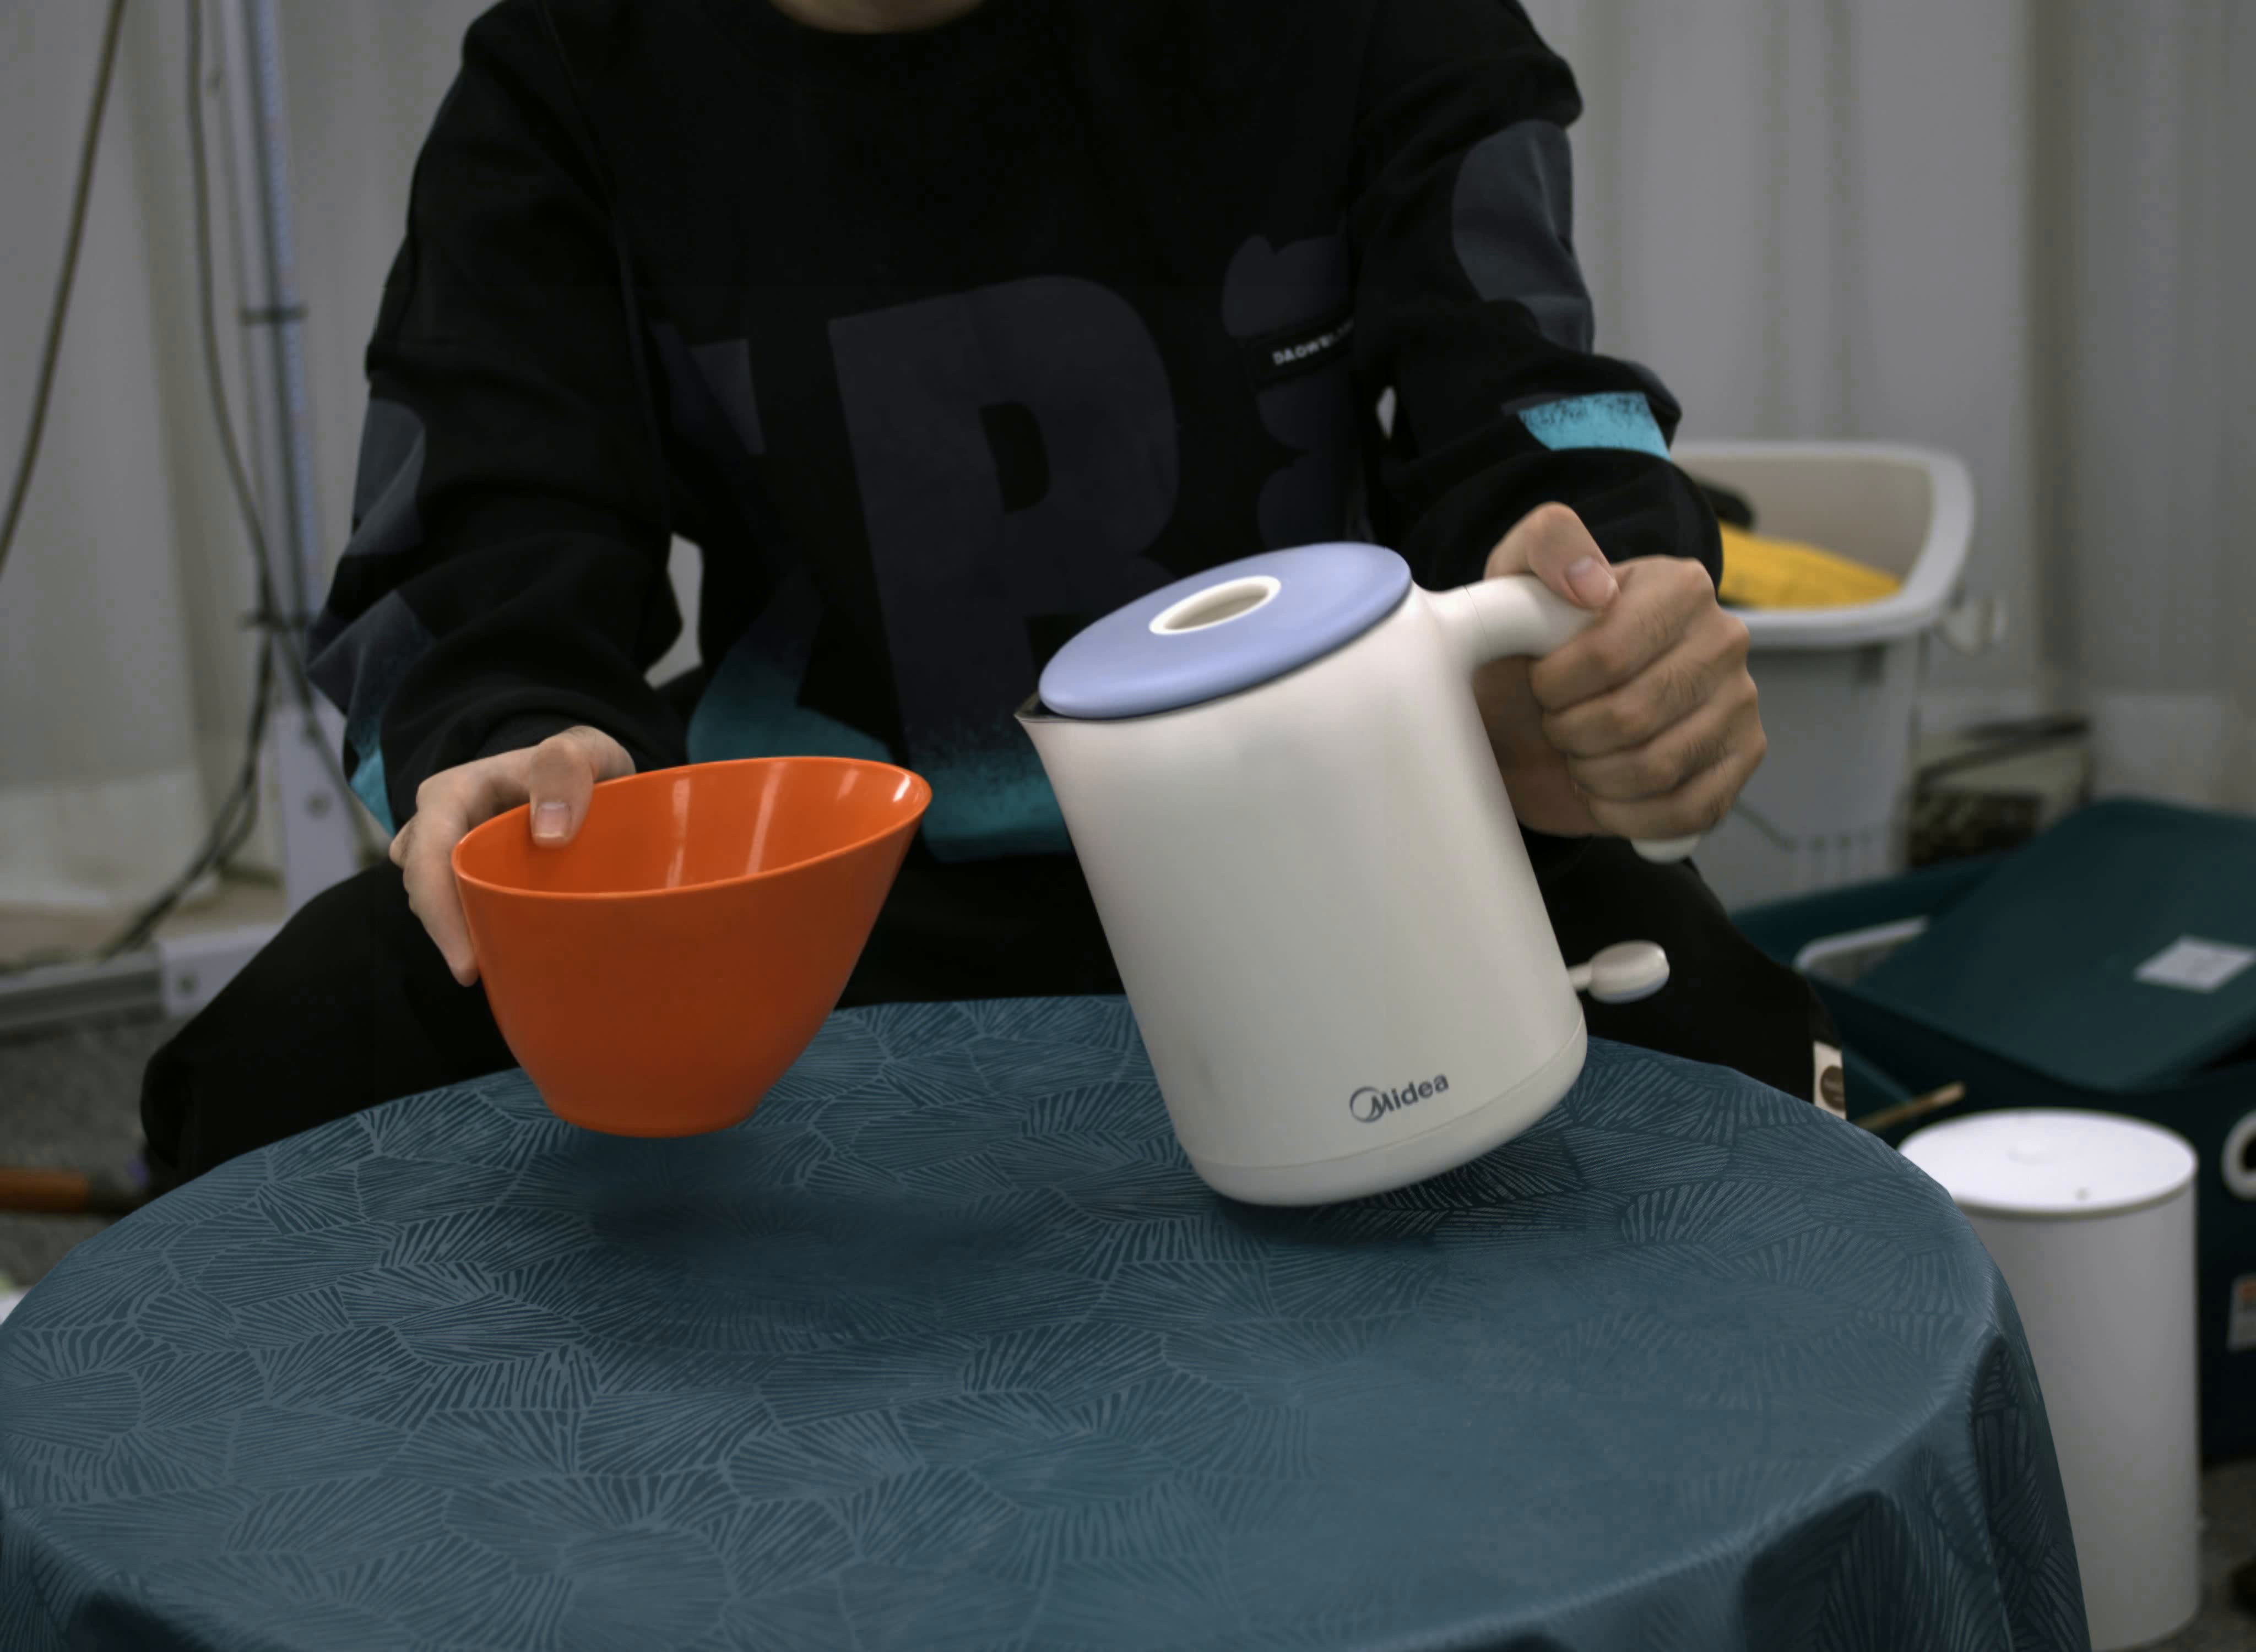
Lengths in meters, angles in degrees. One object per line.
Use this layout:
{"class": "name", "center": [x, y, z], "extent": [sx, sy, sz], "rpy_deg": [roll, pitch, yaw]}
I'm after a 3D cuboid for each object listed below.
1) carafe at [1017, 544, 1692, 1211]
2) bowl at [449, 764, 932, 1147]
{"class": "carafe", "center": [0.078, 0.008, 1.677], "extent": [0.190, 0.181, 0.133], "rpy_deg": [-17, 17, -4]}
{"class": "bowl", "center": [-0.136, 0.040, 1.682], "extent": [0.147, 0.104, 0.149], "rpy_deg": [3, 16, -1]}
